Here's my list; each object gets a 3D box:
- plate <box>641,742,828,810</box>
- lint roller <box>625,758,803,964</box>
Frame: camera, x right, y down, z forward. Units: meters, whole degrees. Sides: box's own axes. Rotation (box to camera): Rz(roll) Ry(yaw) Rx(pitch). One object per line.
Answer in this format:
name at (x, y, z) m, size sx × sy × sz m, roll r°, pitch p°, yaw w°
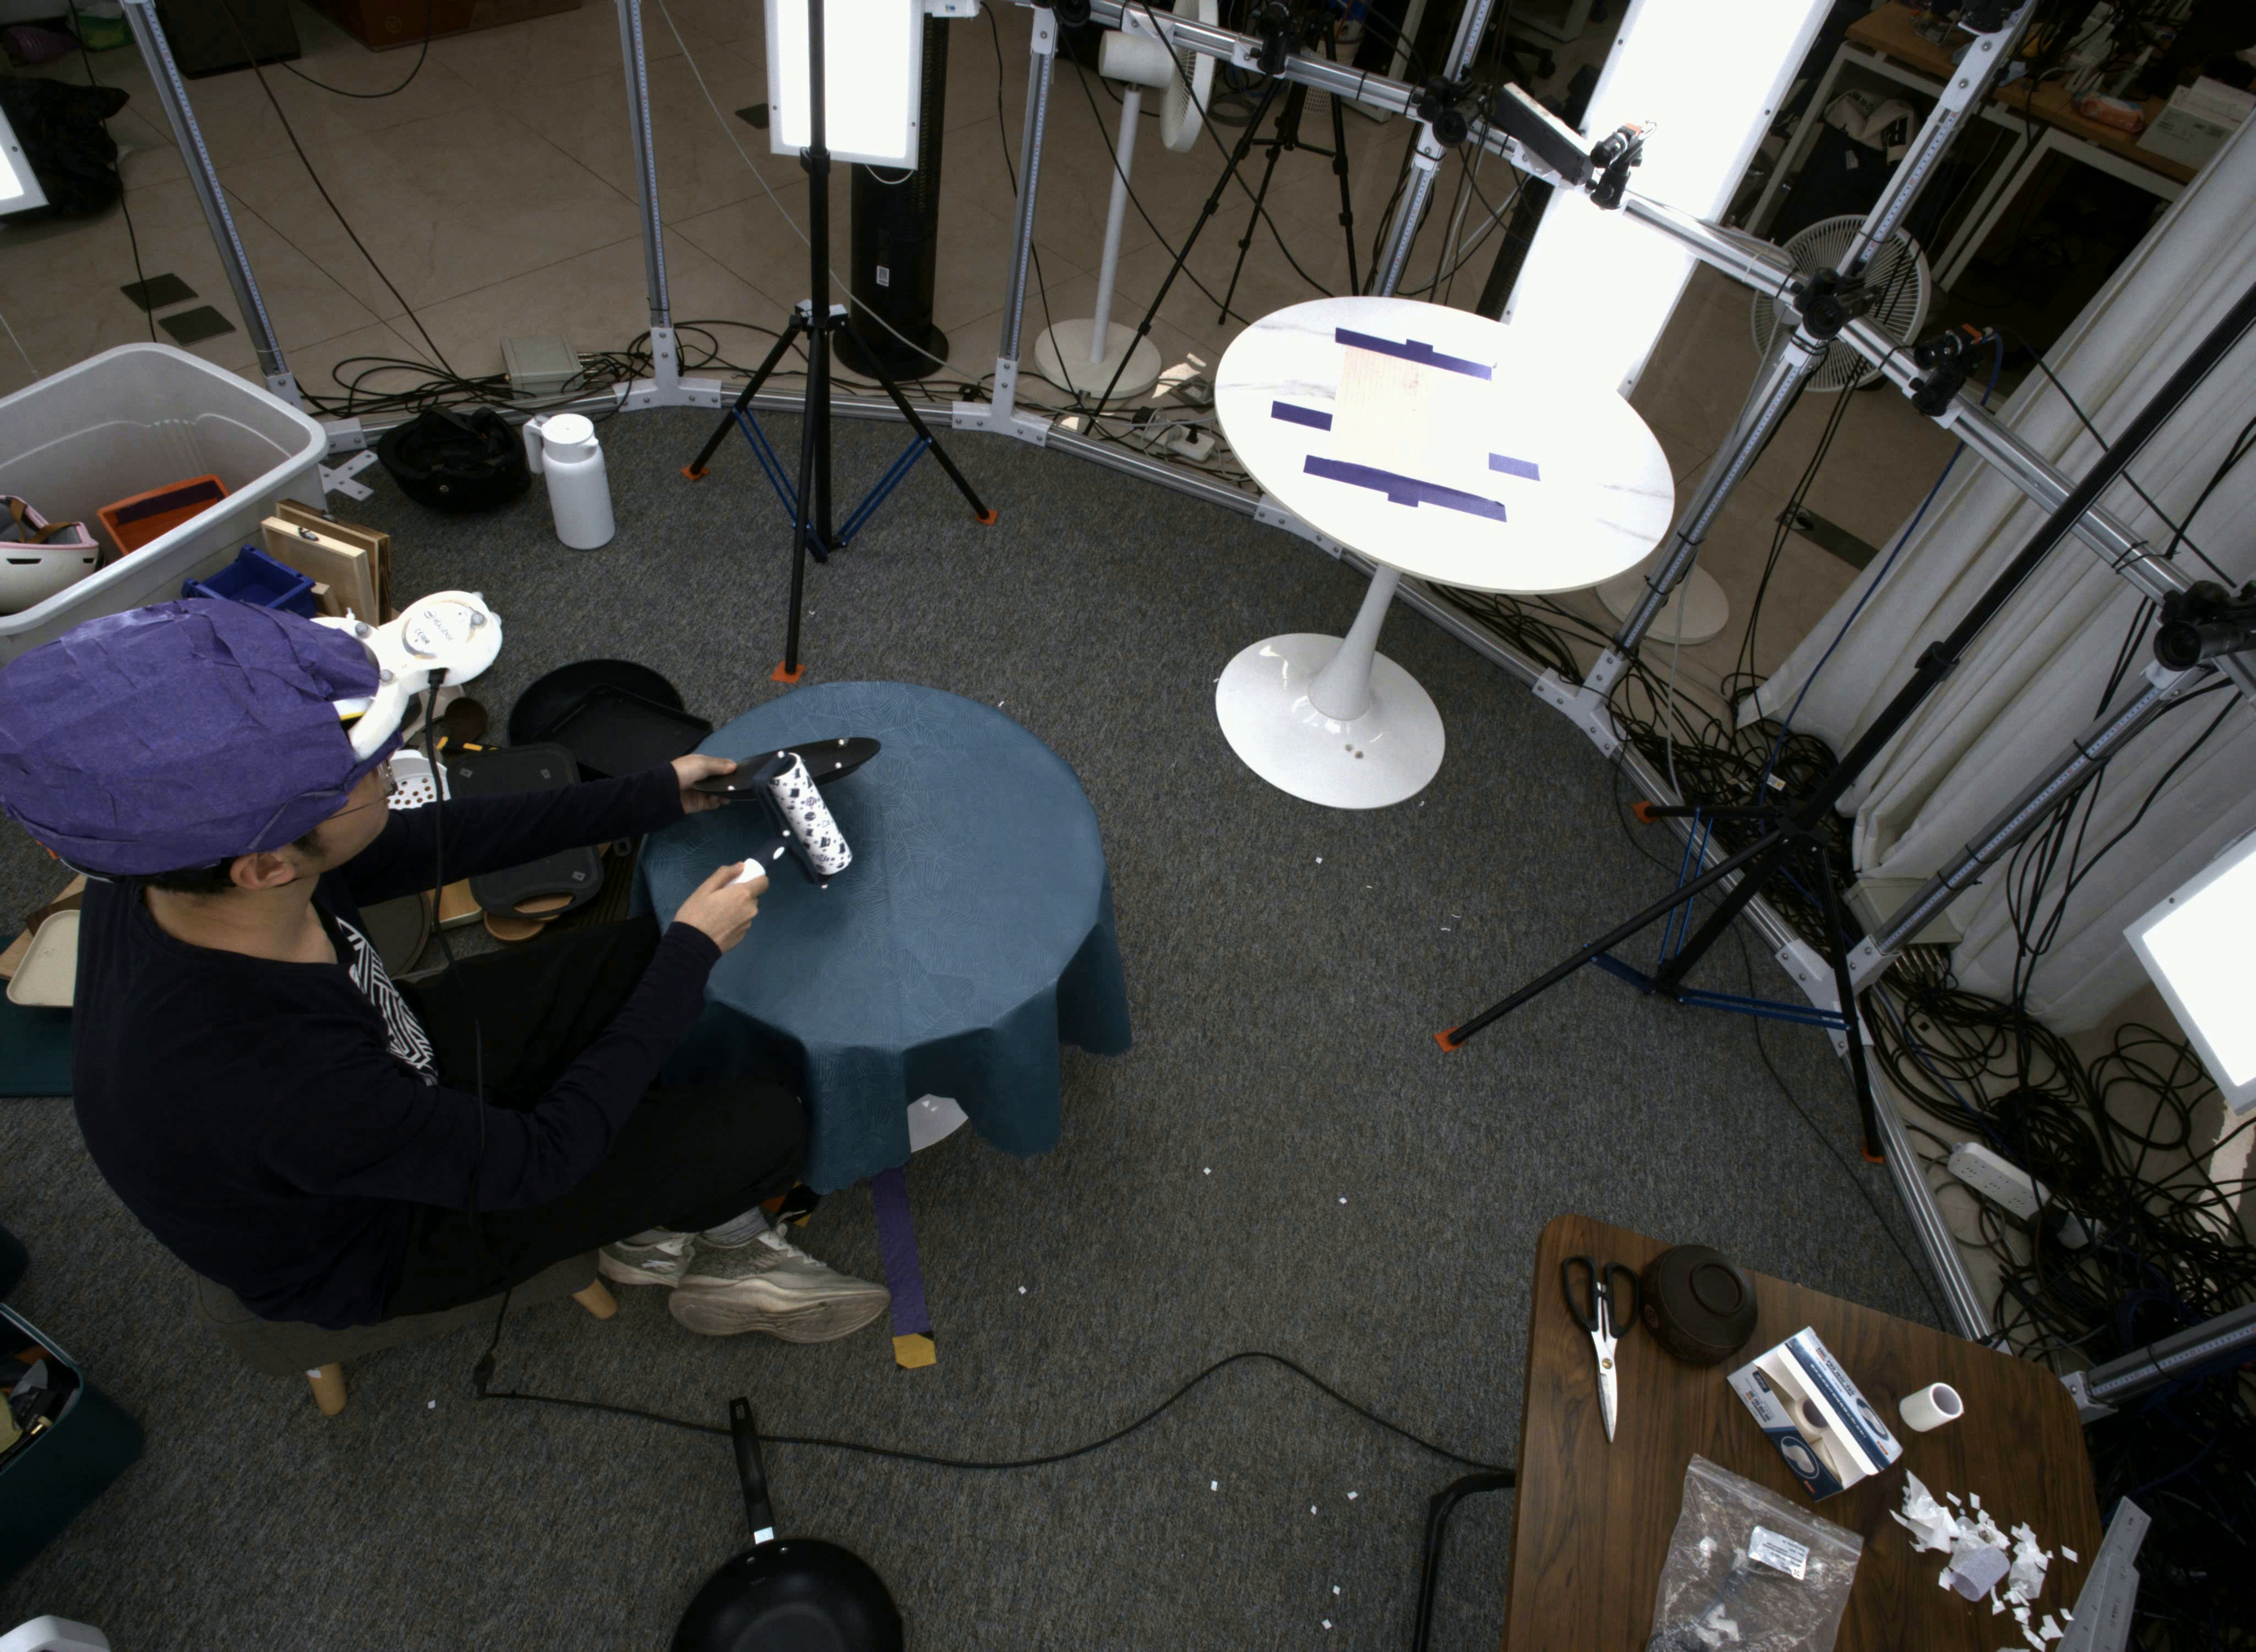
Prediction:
plate at (-0.499, -0.062, 1.648) m, size 0.241 × 0.024 × 0.241 m, roll -10°, pitch 16°, yaw 5°
lint roller at (-0.490, 0.064, 1.493) m, size 0.048 × 0.183 × 0.246 m, roll 13°, pitch 52°, yaw 30°
